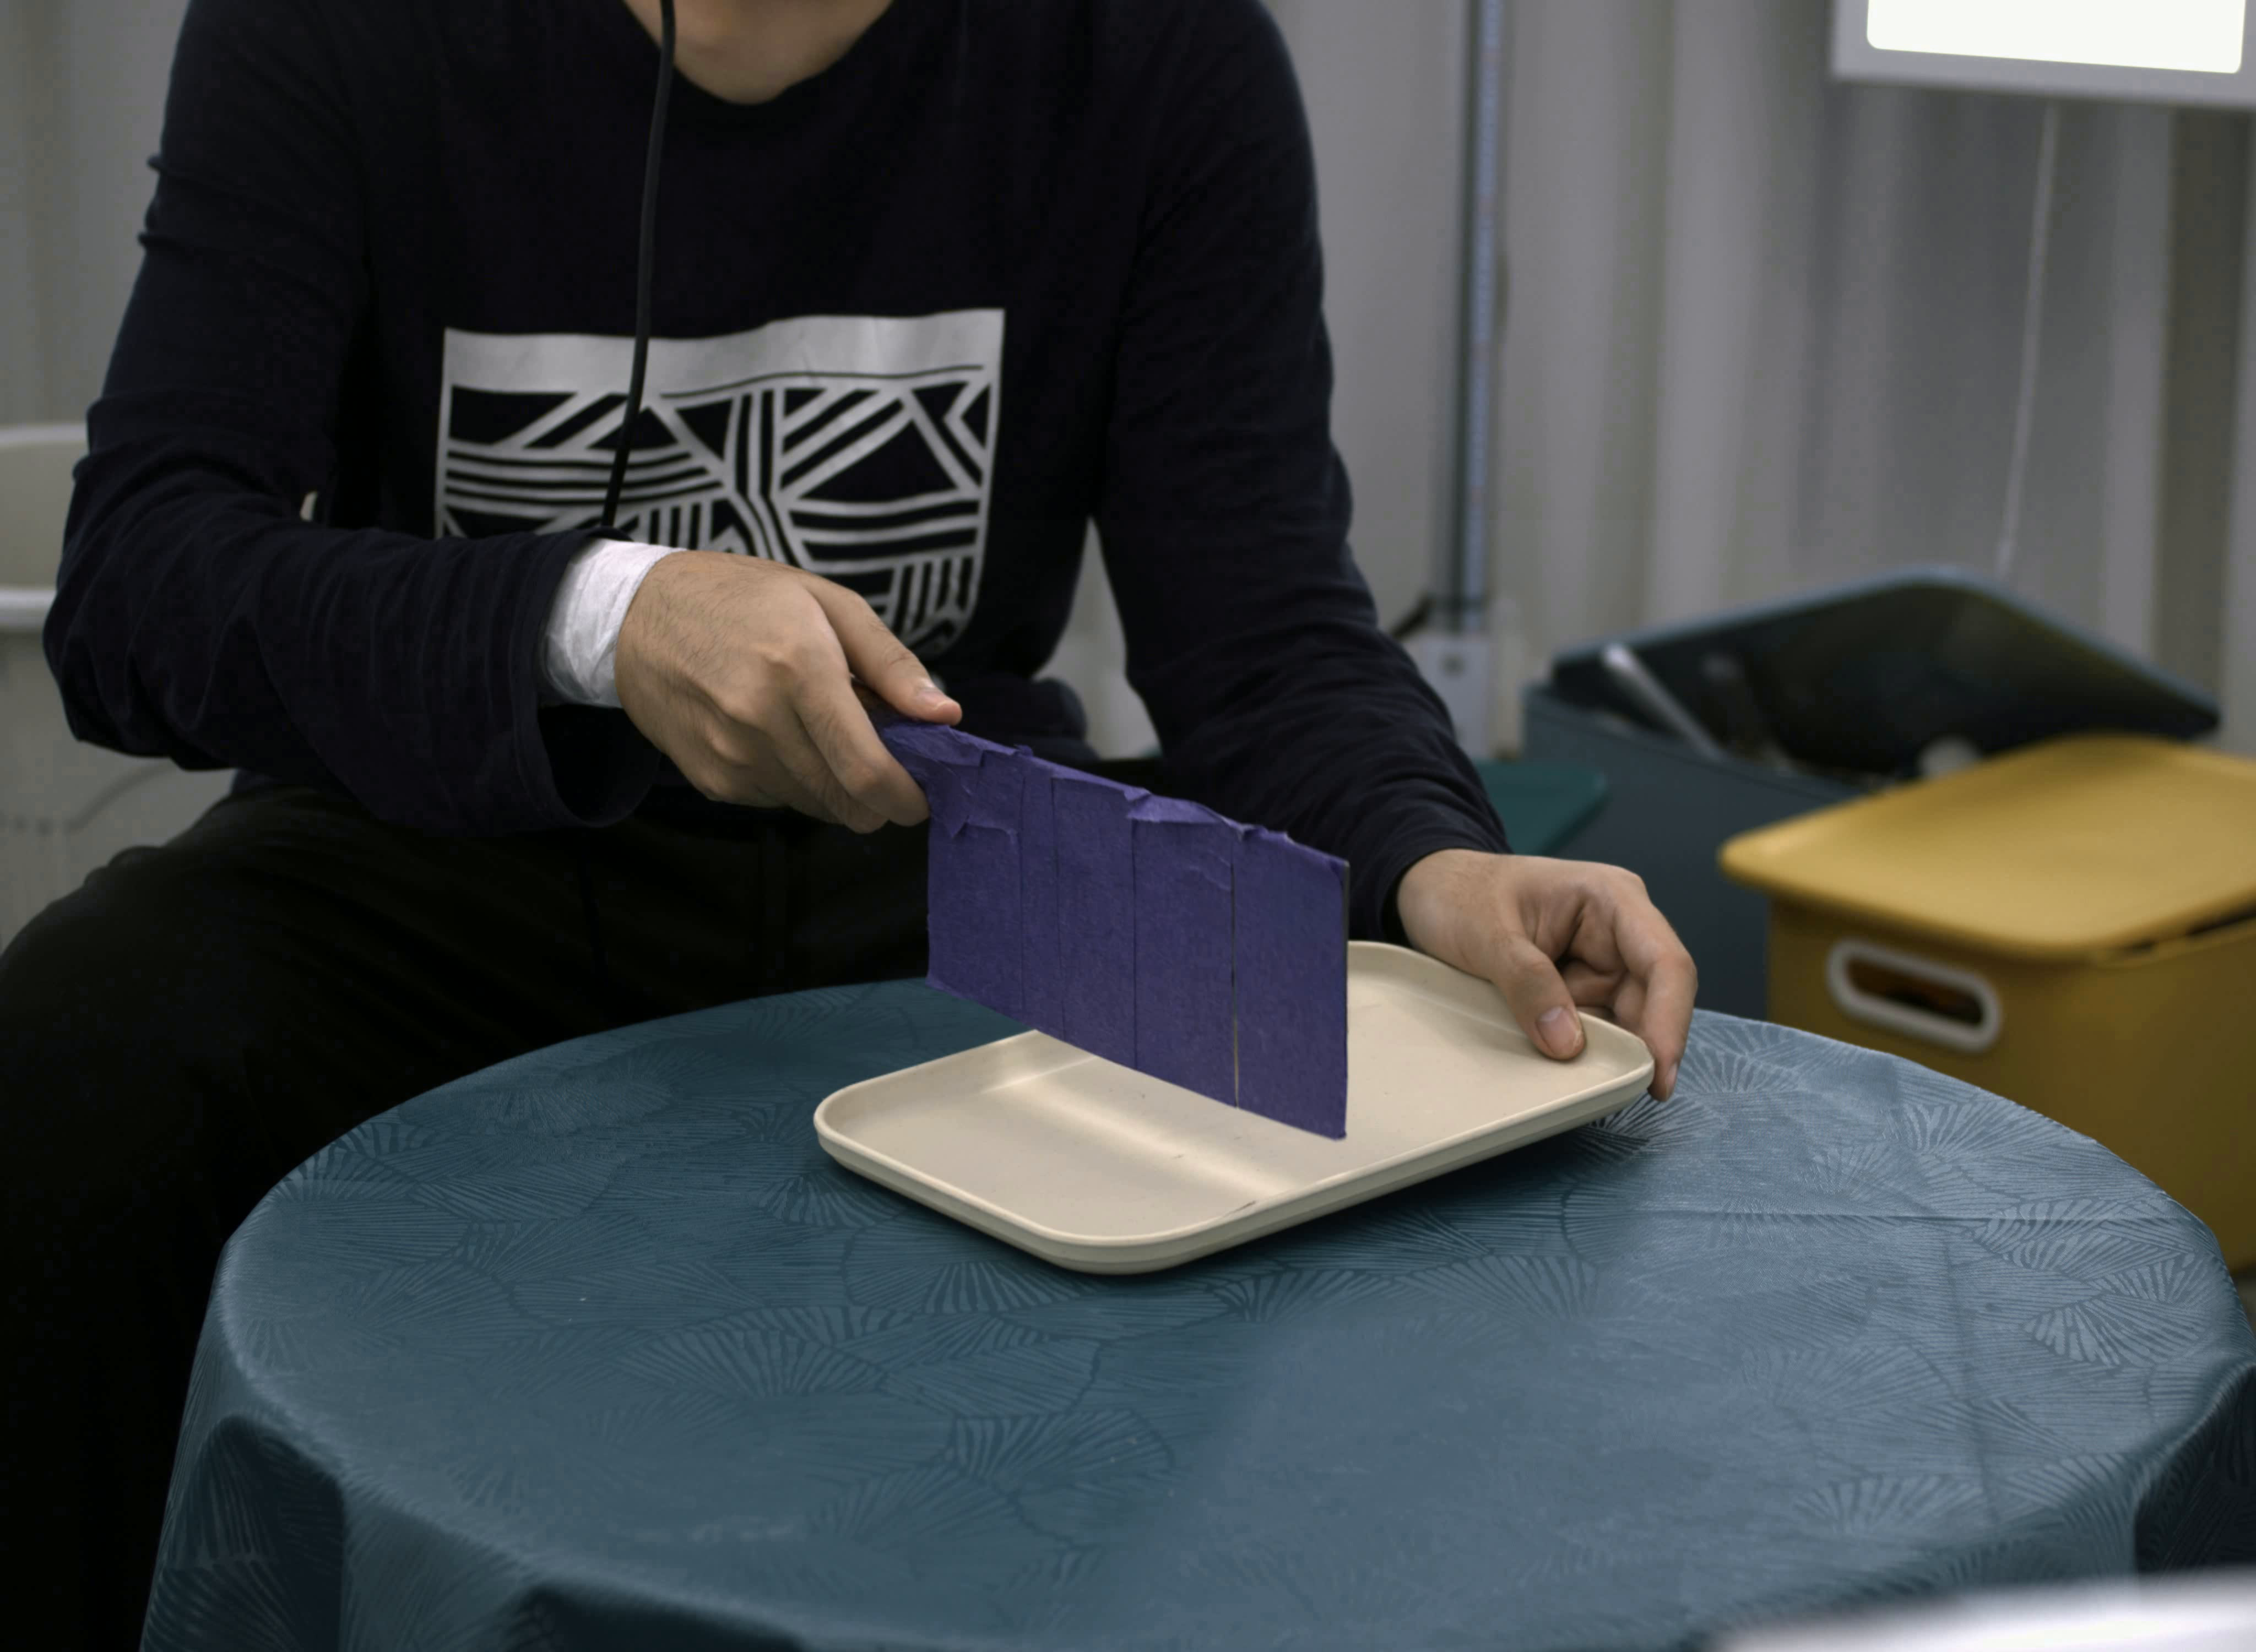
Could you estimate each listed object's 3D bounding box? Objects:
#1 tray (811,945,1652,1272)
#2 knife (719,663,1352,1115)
[{"bbox_3d":[0.034,0.088,1.657,0.240,0.017,0.169,-16,22,-35],"label":"tray"},{"bbox_3d":[-0.034,0.019,1.668,0.032,0.104,0.311,-10,19,-36],"label":"knife"}]
